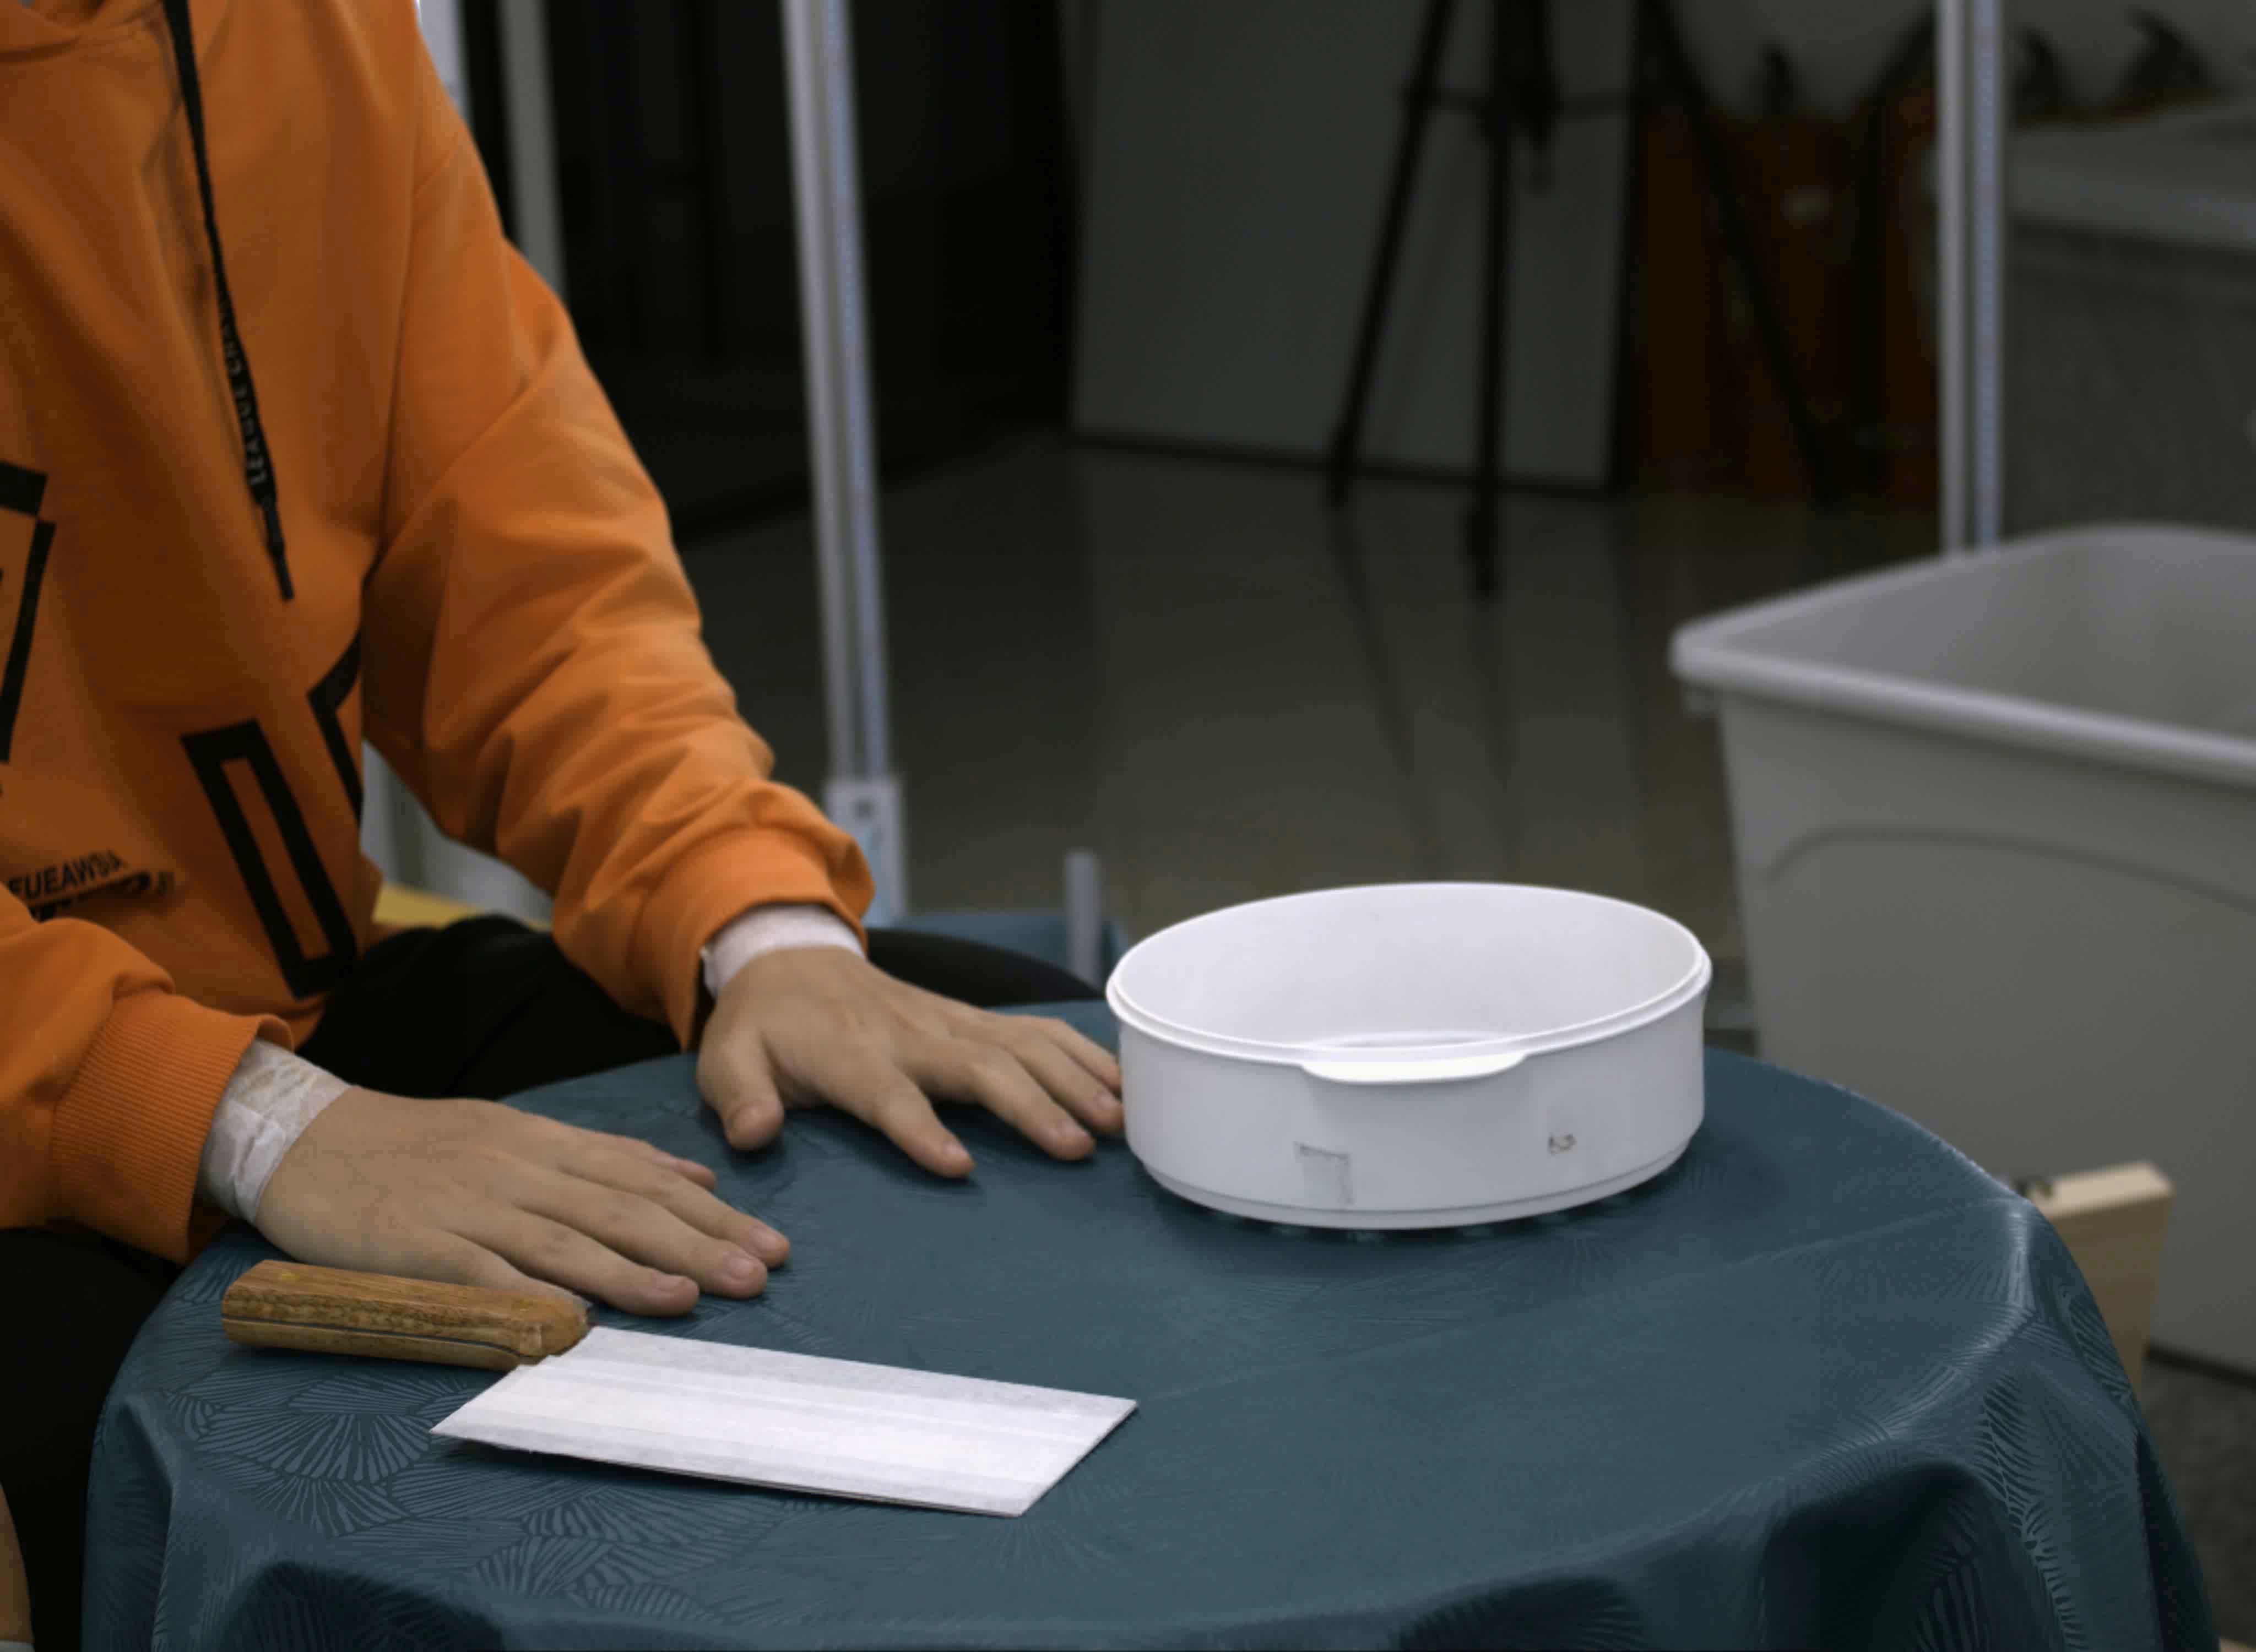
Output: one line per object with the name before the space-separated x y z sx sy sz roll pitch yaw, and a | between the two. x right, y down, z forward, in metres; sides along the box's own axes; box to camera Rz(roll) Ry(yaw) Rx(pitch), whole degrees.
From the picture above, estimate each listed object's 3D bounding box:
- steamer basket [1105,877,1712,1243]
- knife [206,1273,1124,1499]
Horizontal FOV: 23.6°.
steamer basket | 0.094 0.077 1.775 0.199 0.070 0.231 -4 16 3
knife | -0.151 0.168 1.595 0.306 0.021 0.092 5 18 24
